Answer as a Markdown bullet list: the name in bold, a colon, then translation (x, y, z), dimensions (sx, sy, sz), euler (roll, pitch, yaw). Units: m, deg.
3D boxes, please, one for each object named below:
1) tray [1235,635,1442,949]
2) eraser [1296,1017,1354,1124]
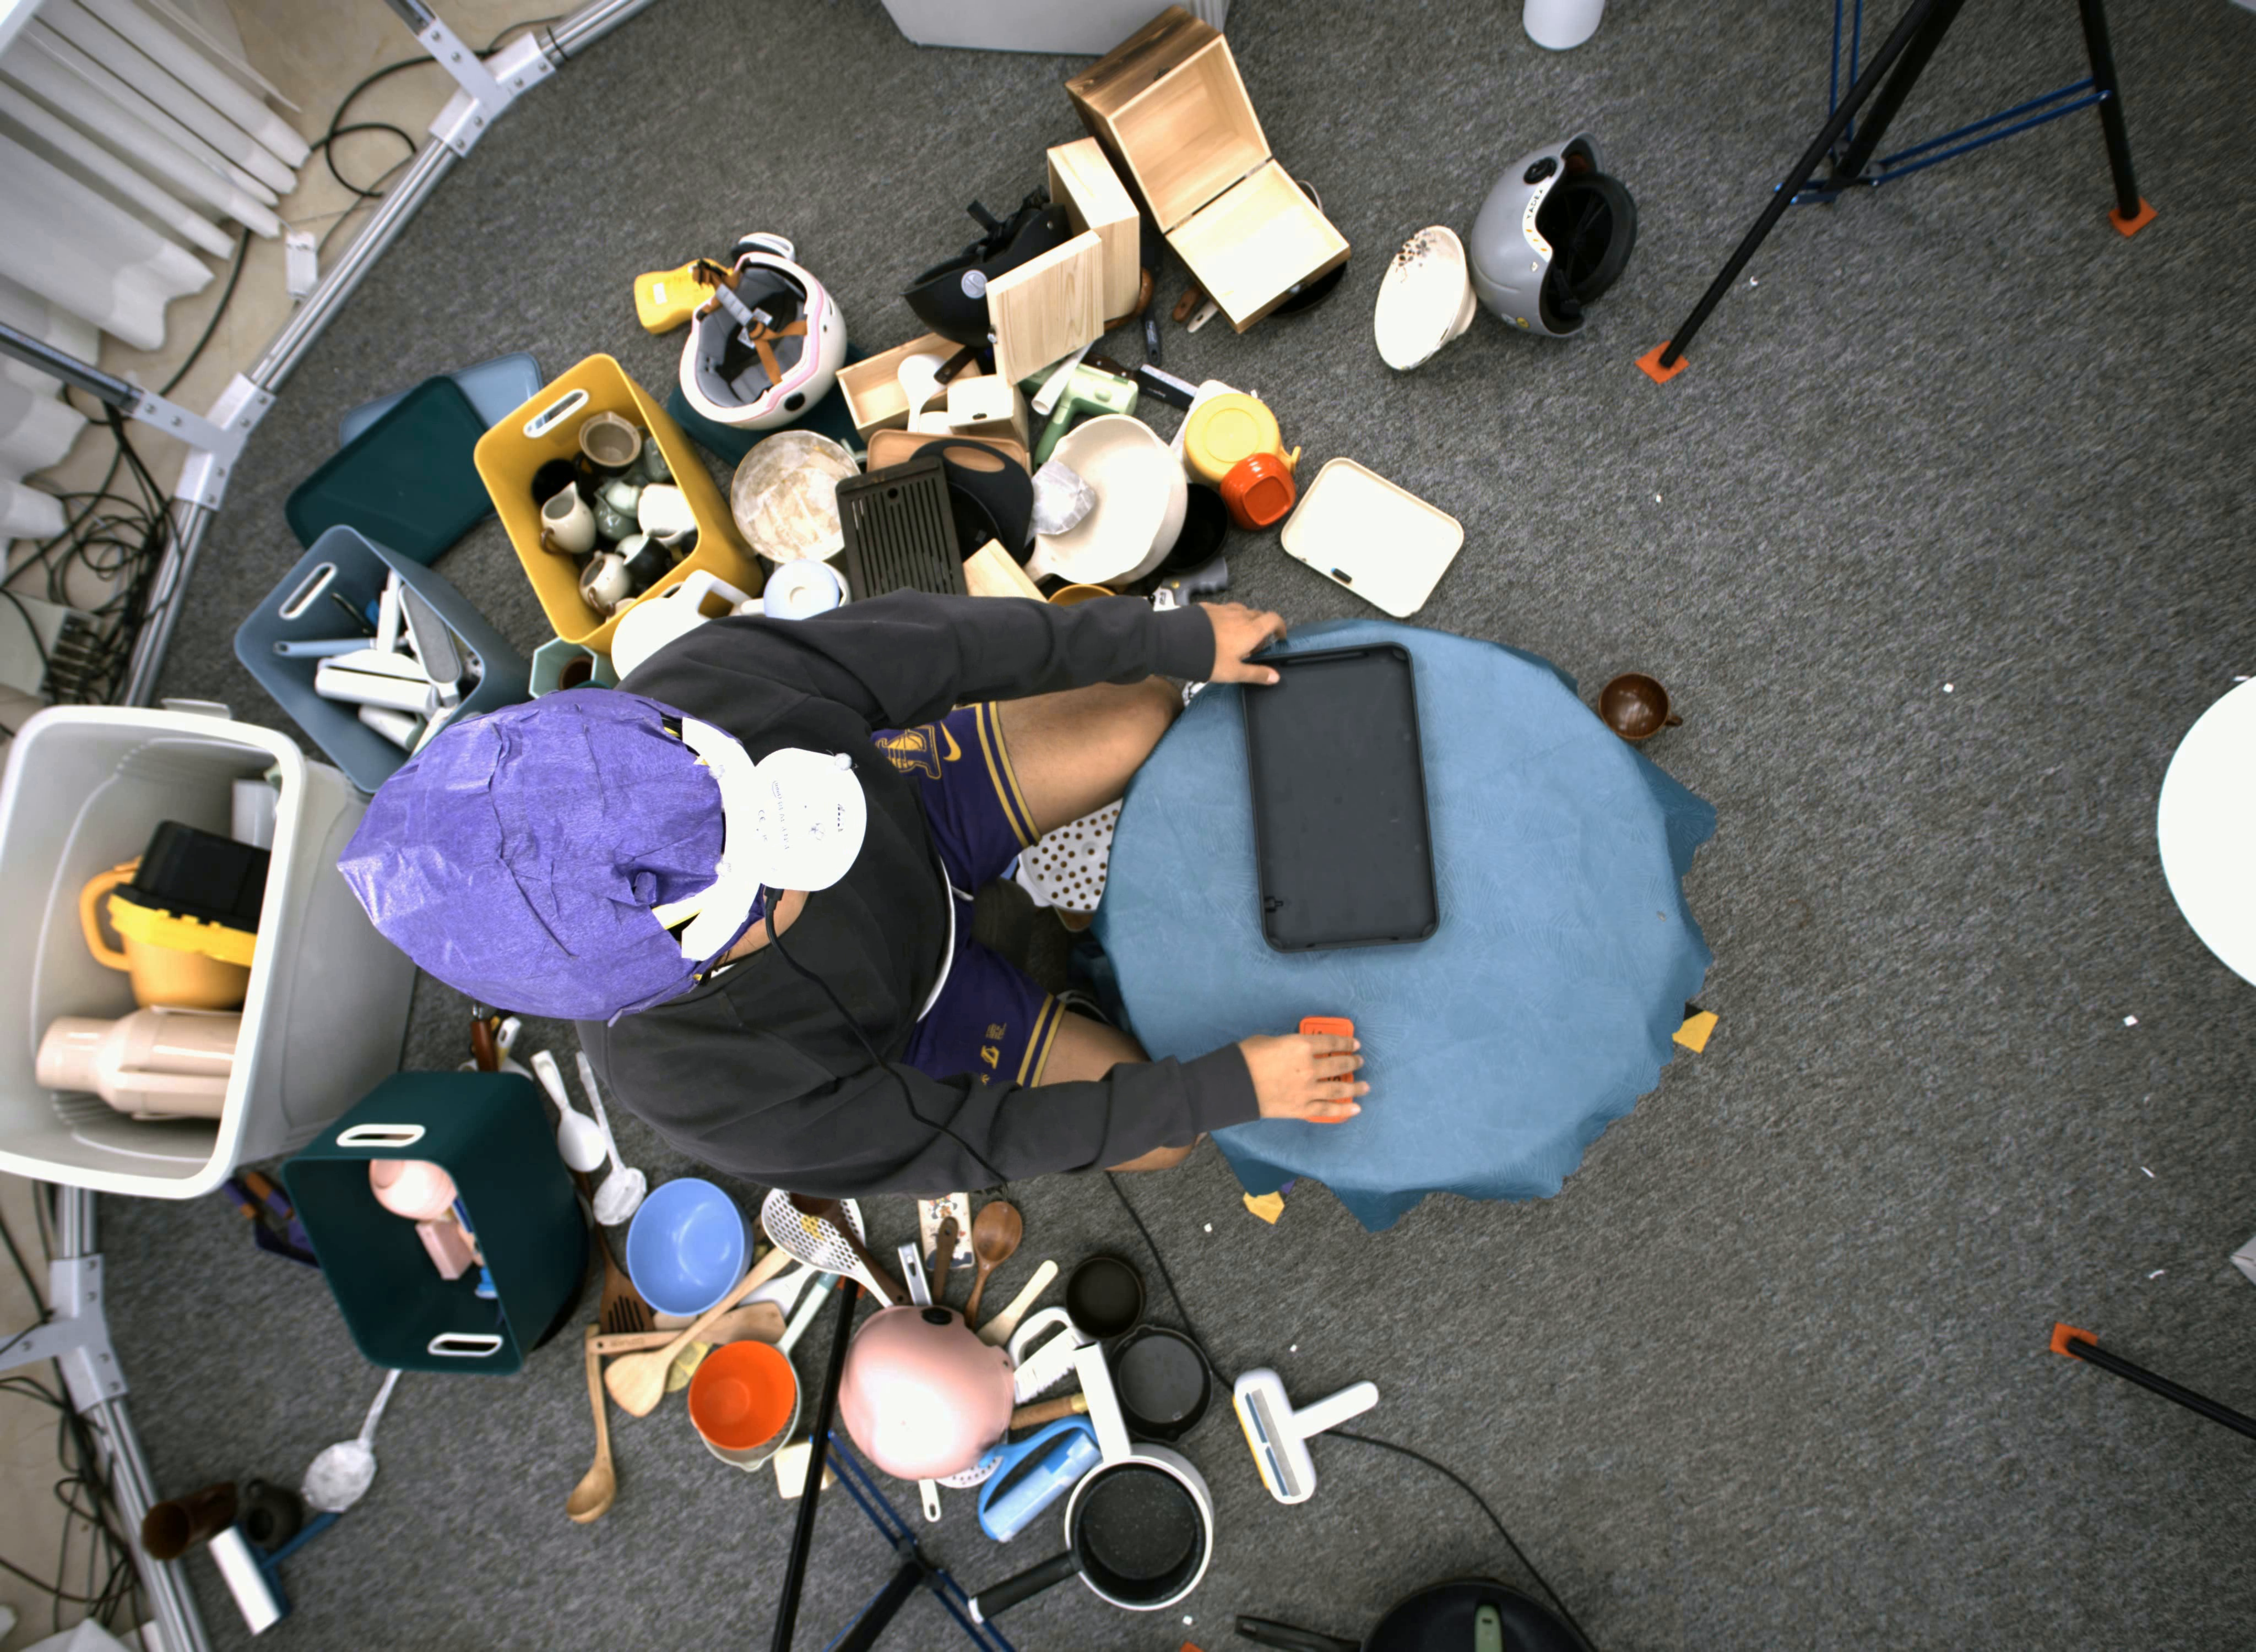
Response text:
- **tray**: translation (0.221, -0.036, 1.457), dimensions (0.185, 0.037, 0.316), euler (-7, 86, 10)
- **eraser**: translation (0.206, 0.253, 1.446), dimensions (0.059, 0.023, 0.107), euler (1, 88, 18)
